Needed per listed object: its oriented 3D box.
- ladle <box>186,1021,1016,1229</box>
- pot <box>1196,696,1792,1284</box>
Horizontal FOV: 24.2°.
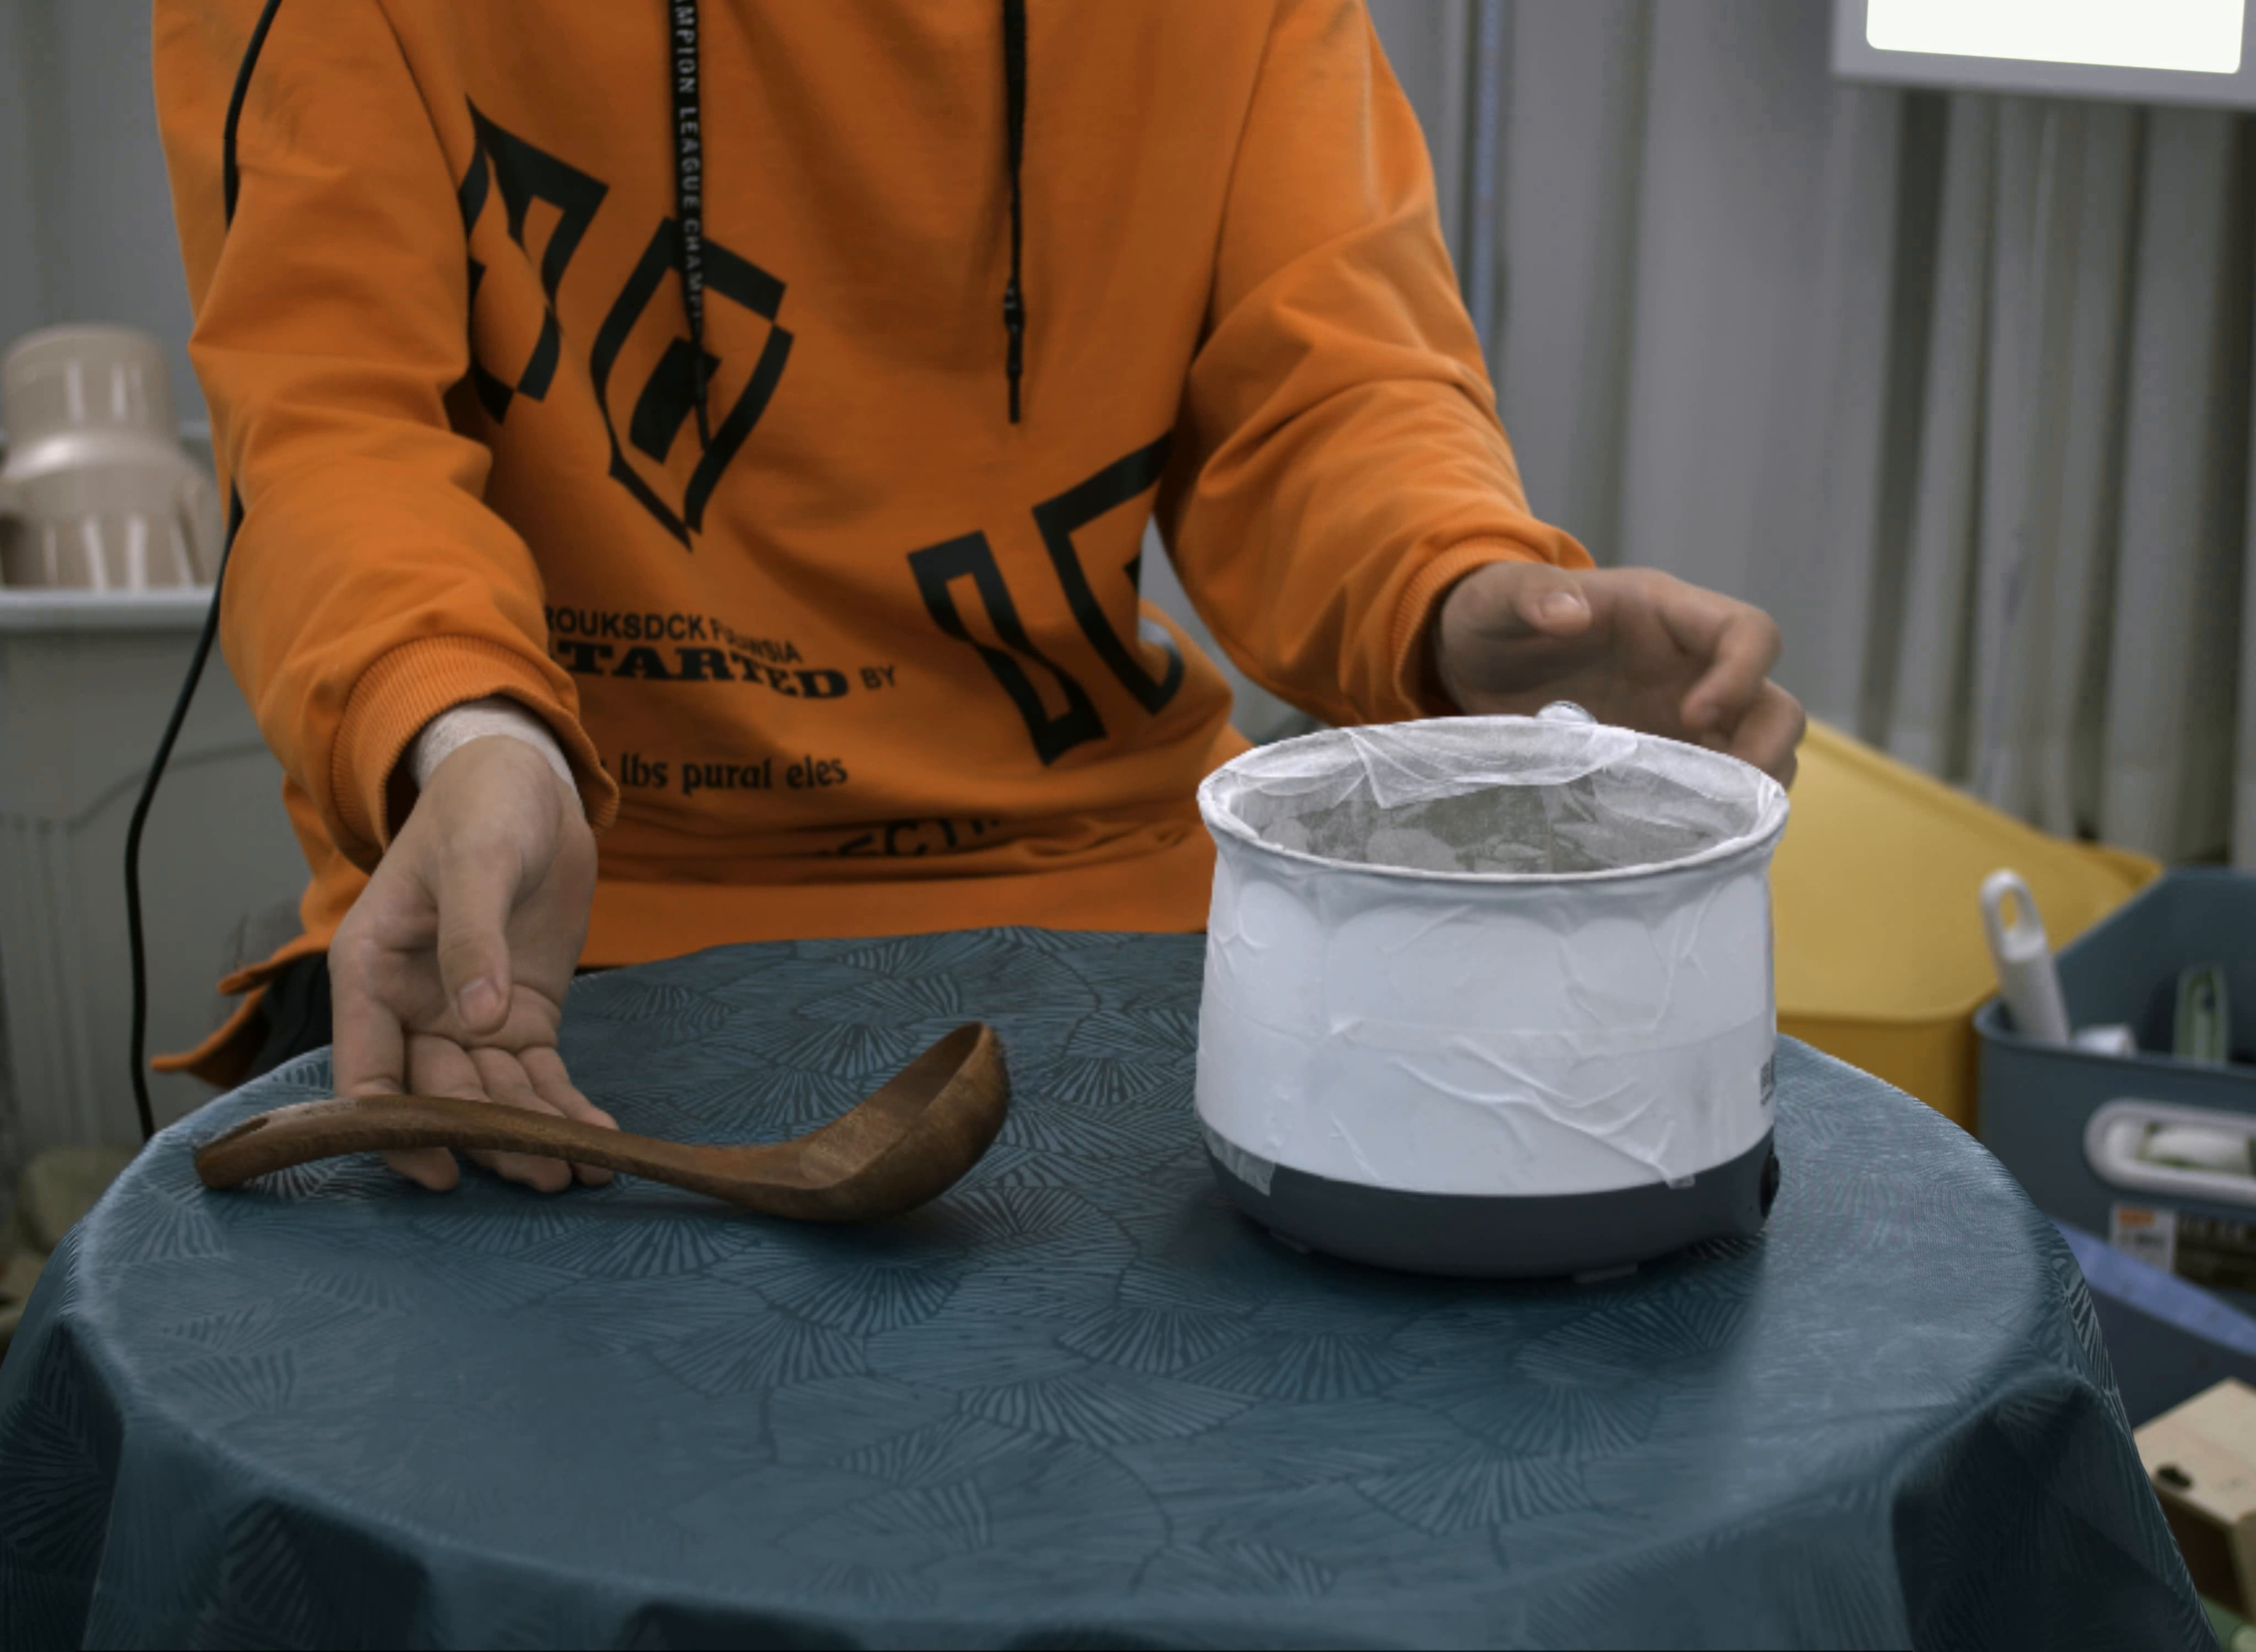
[{"bbox_3d":[-0.162,0.085,1.595,0.258,0.065,0.076,3,17,9],"label":"ladle"},{"bbox_3d":[0.116,0.044,1.614,0.177,0.138,0.233,5,17,14],"label":"pot"}]
